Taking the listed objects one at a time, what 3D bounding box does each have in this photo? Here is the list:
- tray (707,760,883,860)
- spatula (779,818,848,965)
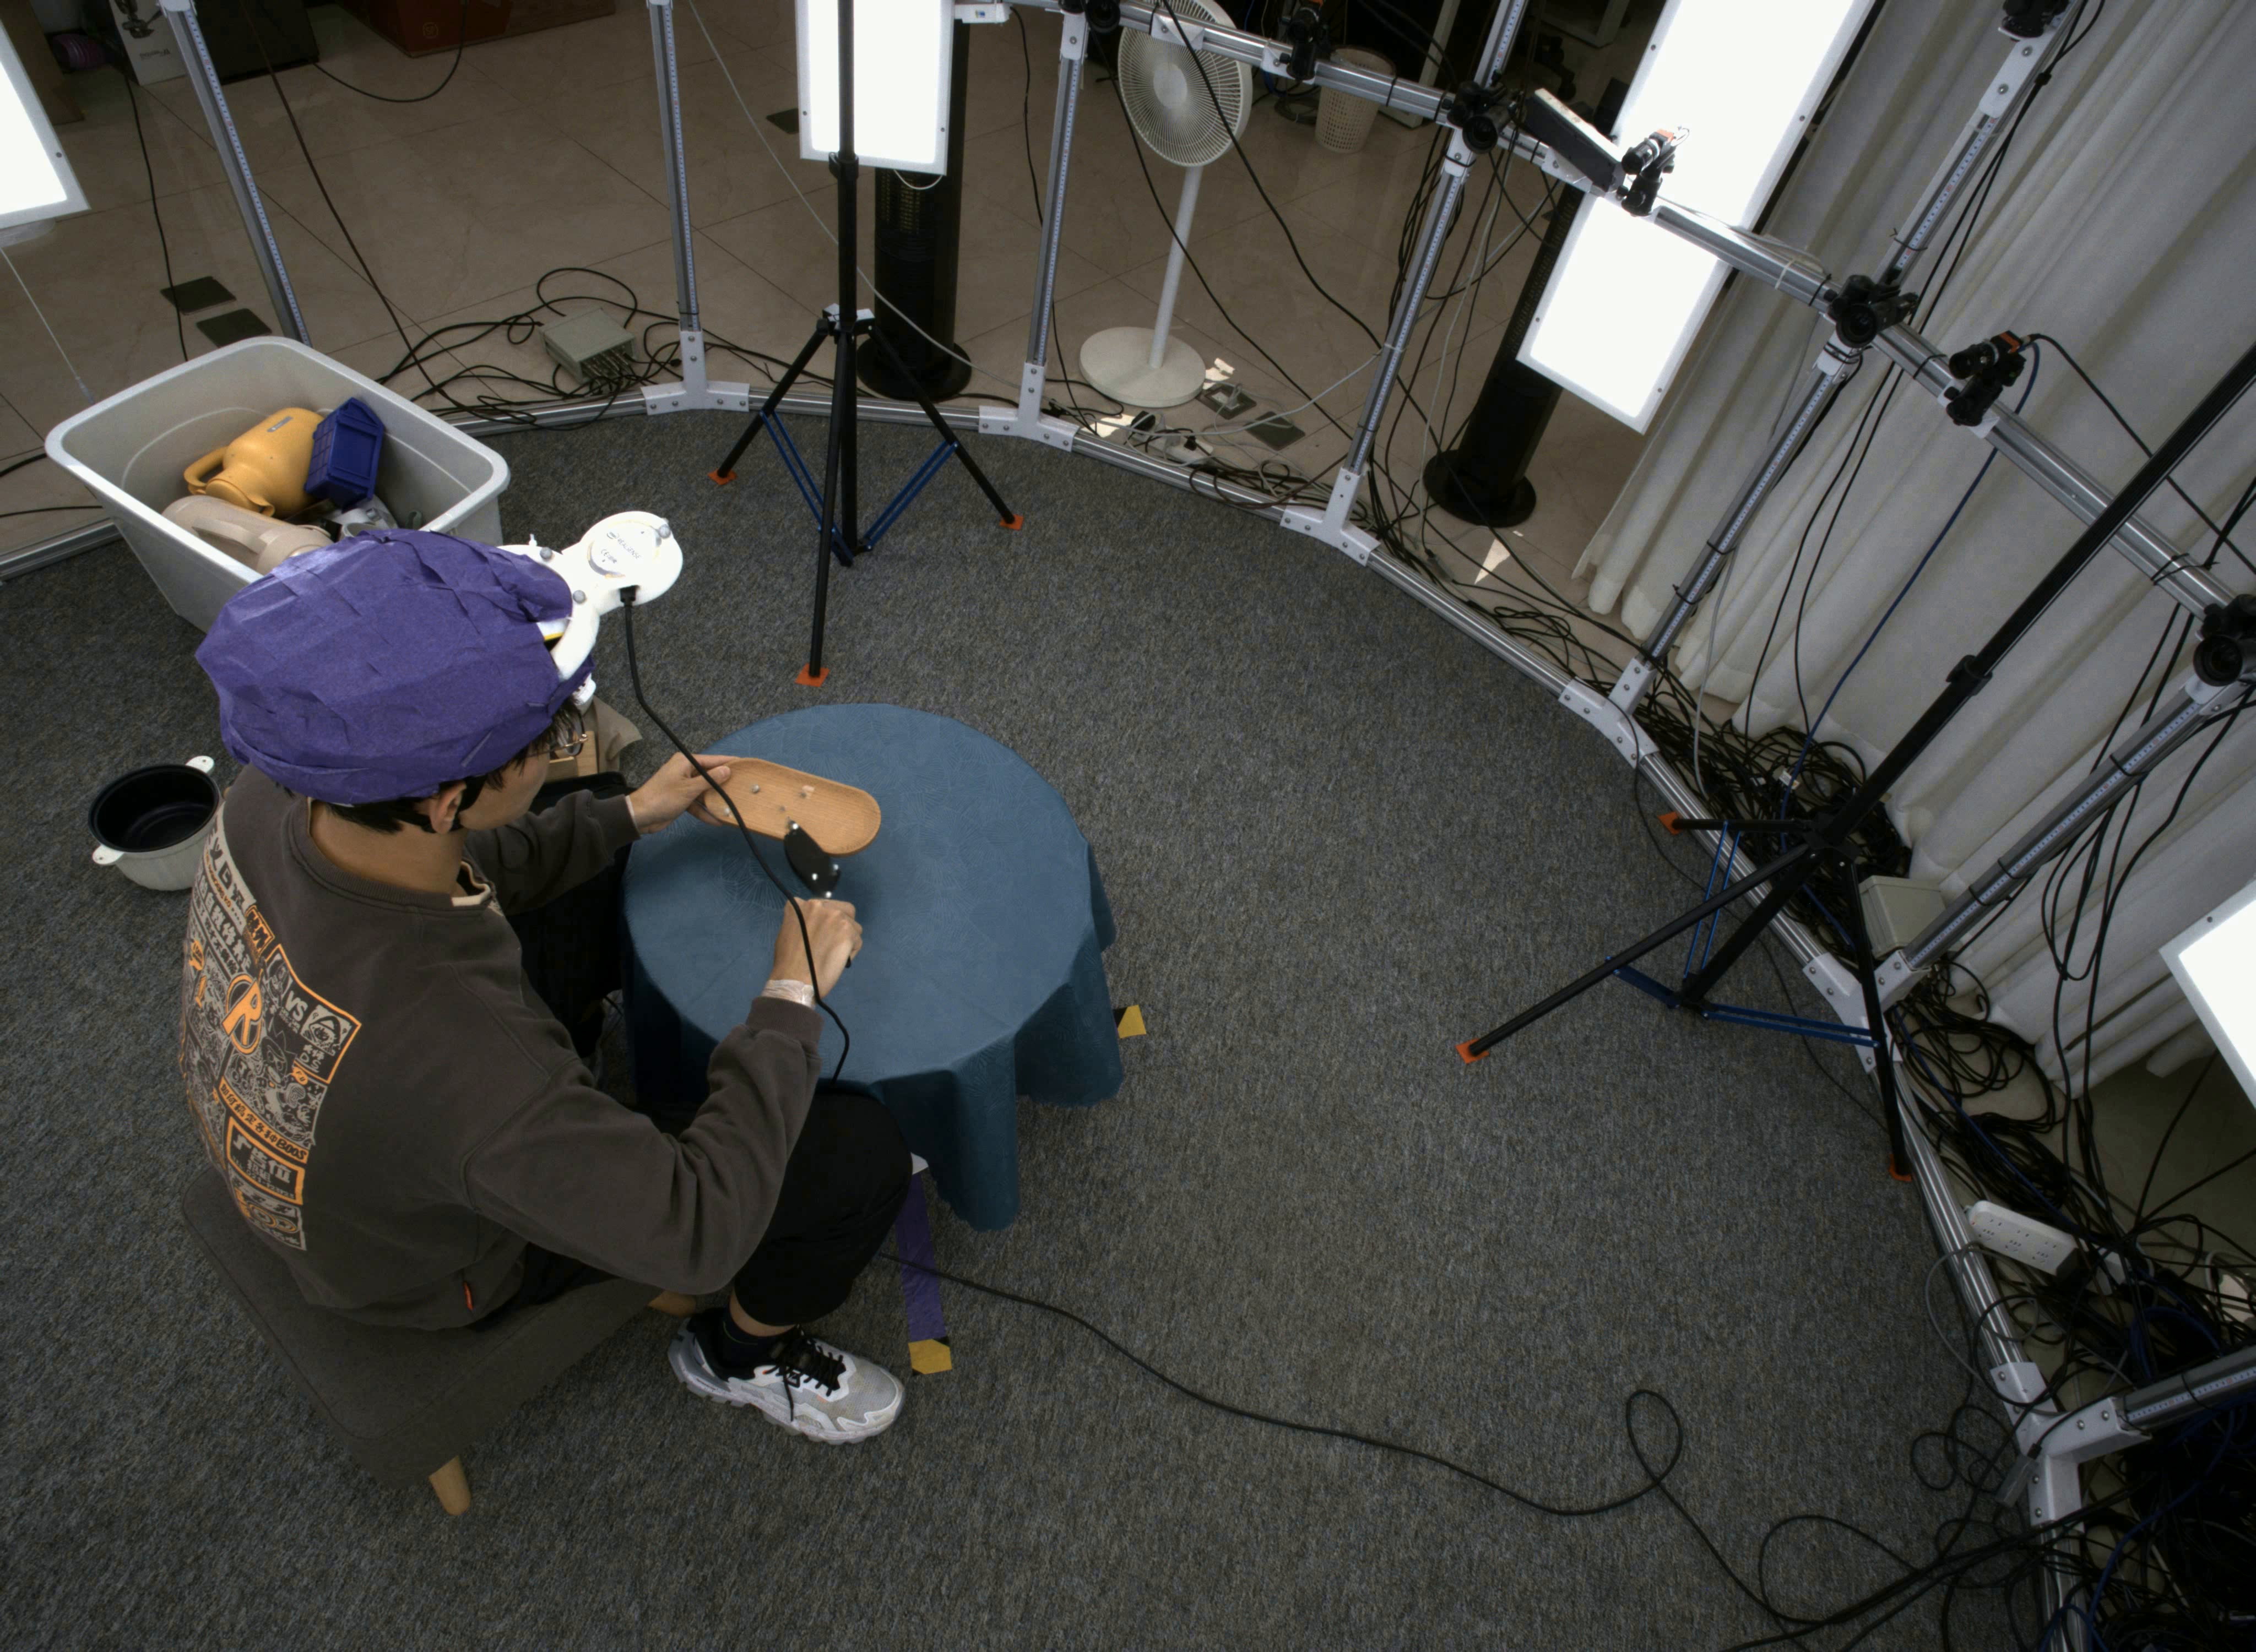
[{"bbox_3d":[-0.420,-0.021,1.634,0.228,0.021,0.101,17,60,3],"label":"tray"},{"bbox_3d":[-0.341,0.078,1.452,0.040,0.103,0.315,-43,30,-5],"label":"spatula"}]
